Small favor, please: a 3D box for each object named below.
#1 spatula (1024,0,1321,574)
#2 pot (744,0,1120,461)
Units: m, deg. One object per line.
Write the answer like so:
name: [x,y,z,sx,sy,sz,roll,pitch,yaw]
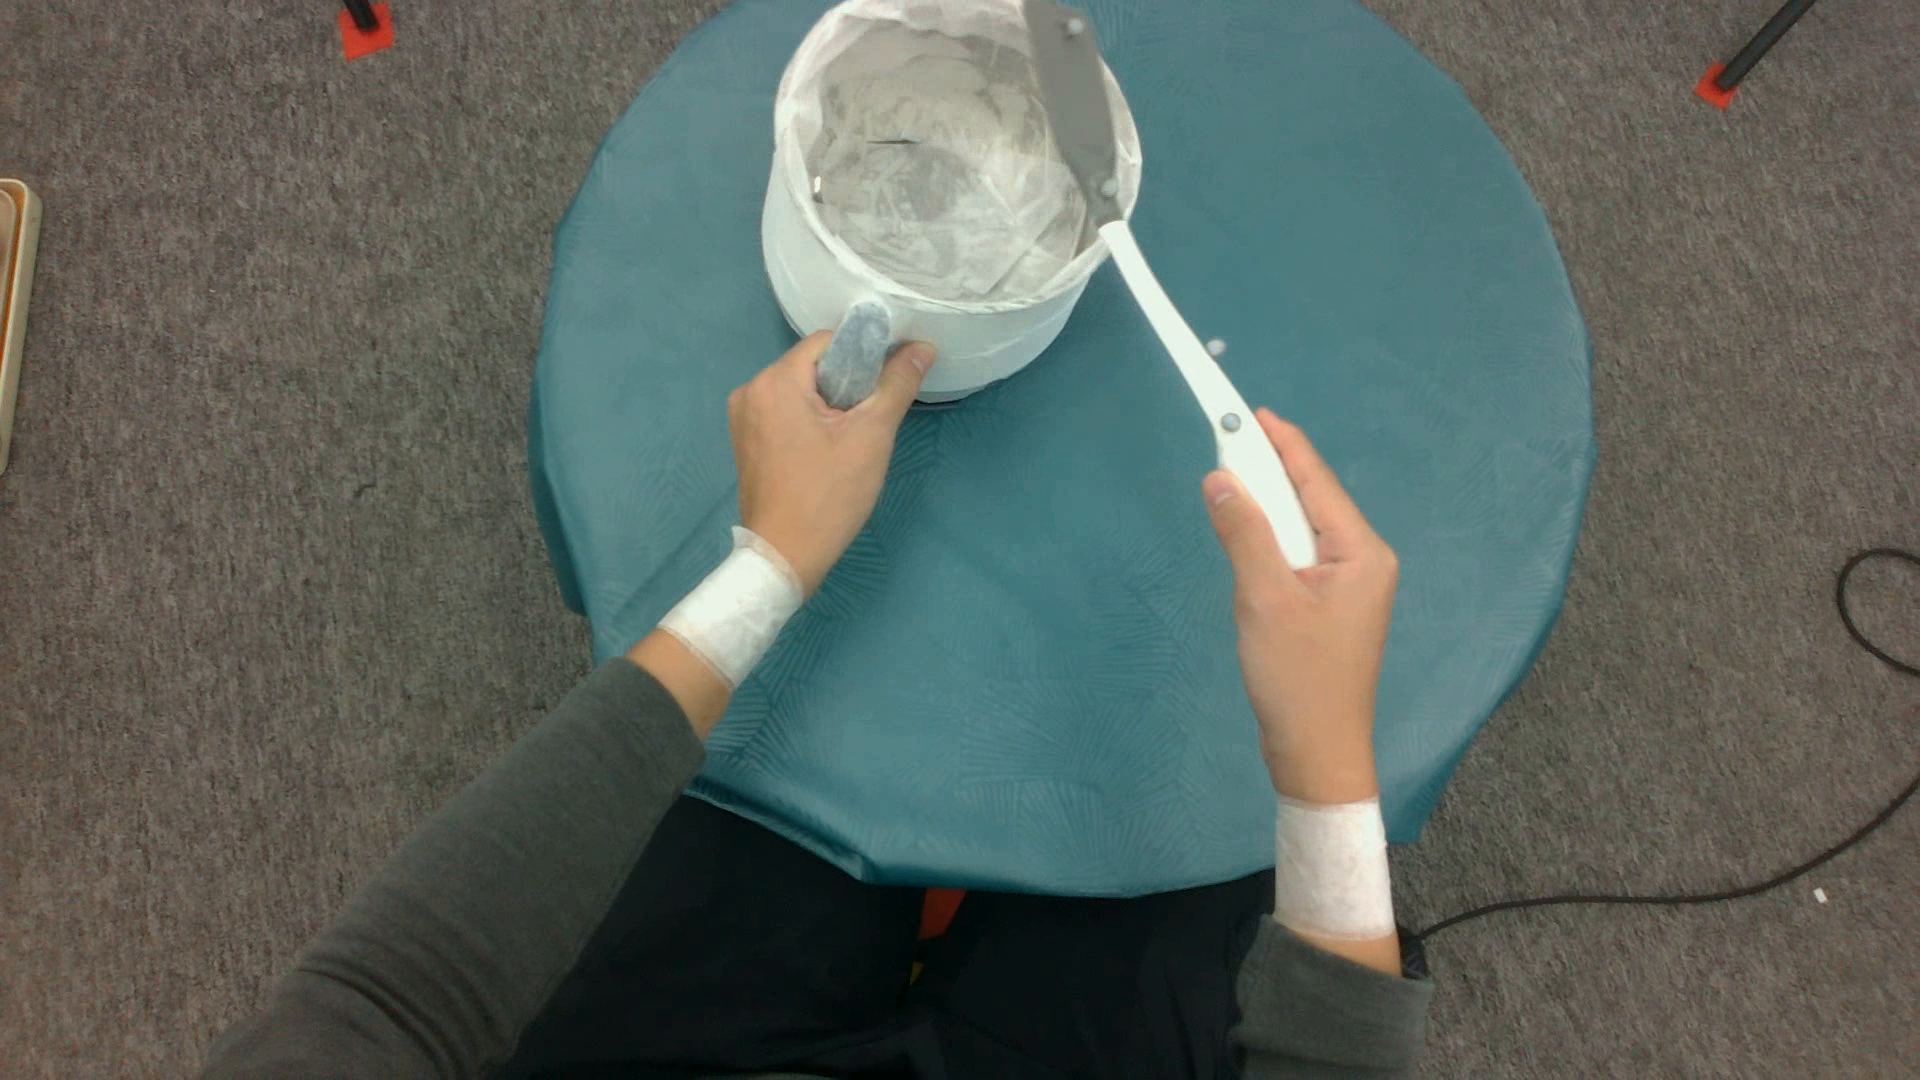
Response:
spatula: [0.087,-0.122,0.615,0.059,0.032,0.288,-10,74,-47]
pot: [-0.031,-0.155,0.704,0.179,0.136,0.234,25,71,-4]
